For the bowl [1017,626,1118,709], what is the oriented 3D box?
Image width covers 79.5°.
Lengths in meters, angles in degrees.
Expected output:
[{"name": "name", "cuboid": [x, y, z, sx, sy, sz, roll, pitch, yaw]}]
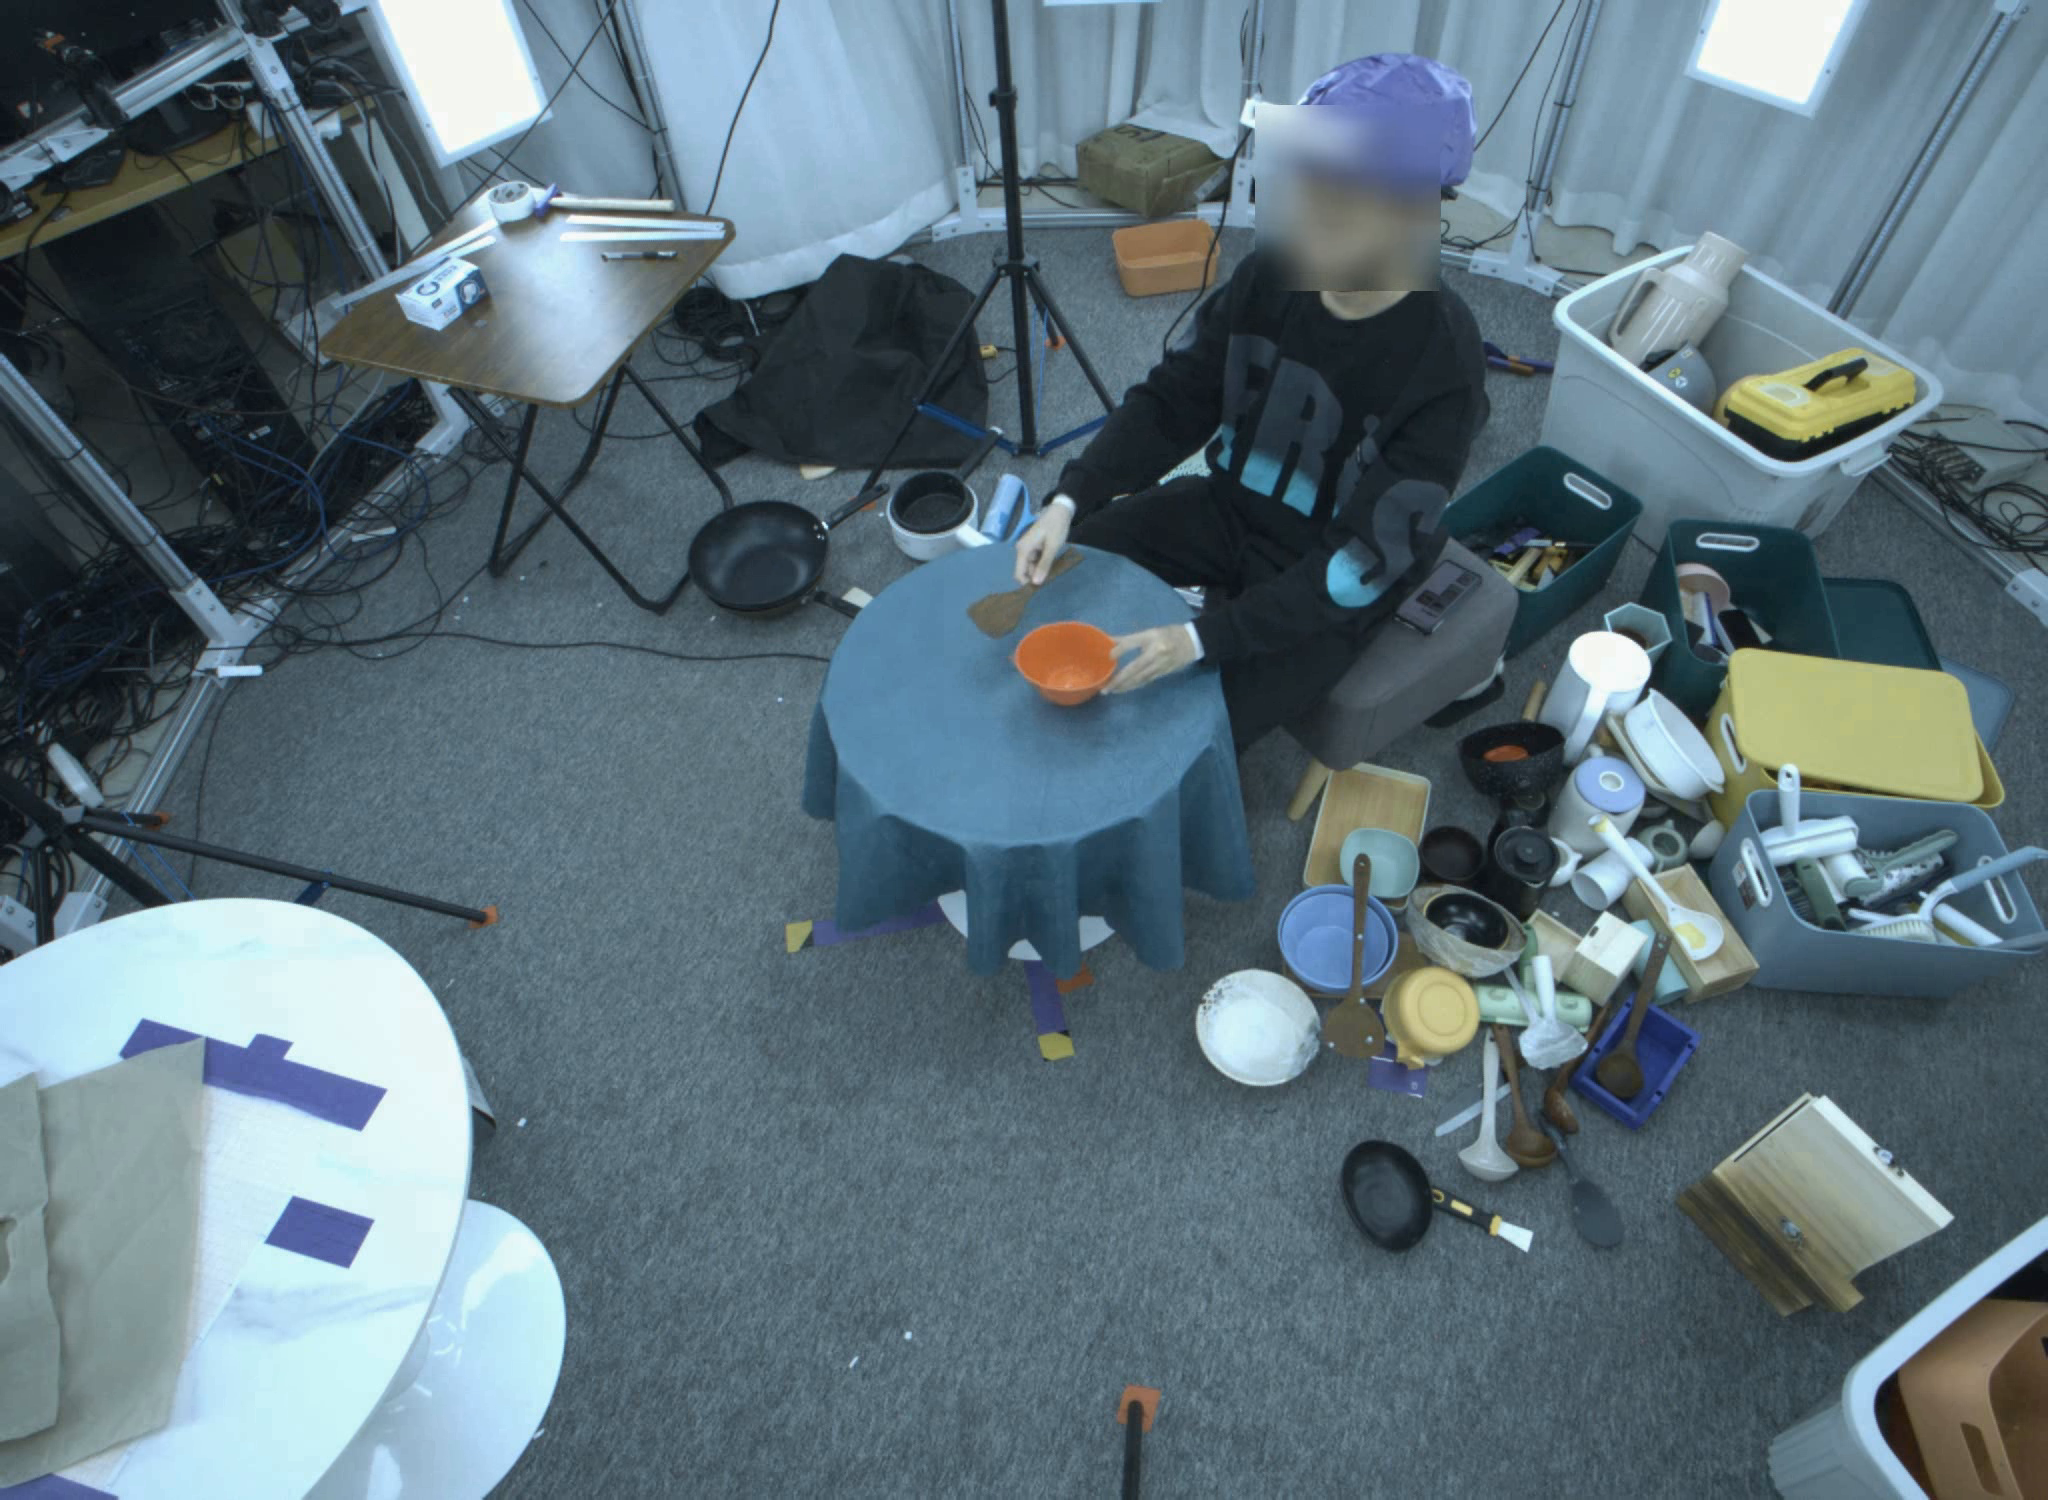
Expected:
[{"name": "bowl", "cuboid": [0.065, -0.108, 1.810, 0.148, 0.106, 0.146, 0, 55, 2]}]

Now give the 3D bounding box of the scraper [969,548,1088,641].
[{"name": "scraper", "cuboid": [0.013, -0.243, 1.859, 0.212, 0.011, 0.075, -39, 76, -19]}]
